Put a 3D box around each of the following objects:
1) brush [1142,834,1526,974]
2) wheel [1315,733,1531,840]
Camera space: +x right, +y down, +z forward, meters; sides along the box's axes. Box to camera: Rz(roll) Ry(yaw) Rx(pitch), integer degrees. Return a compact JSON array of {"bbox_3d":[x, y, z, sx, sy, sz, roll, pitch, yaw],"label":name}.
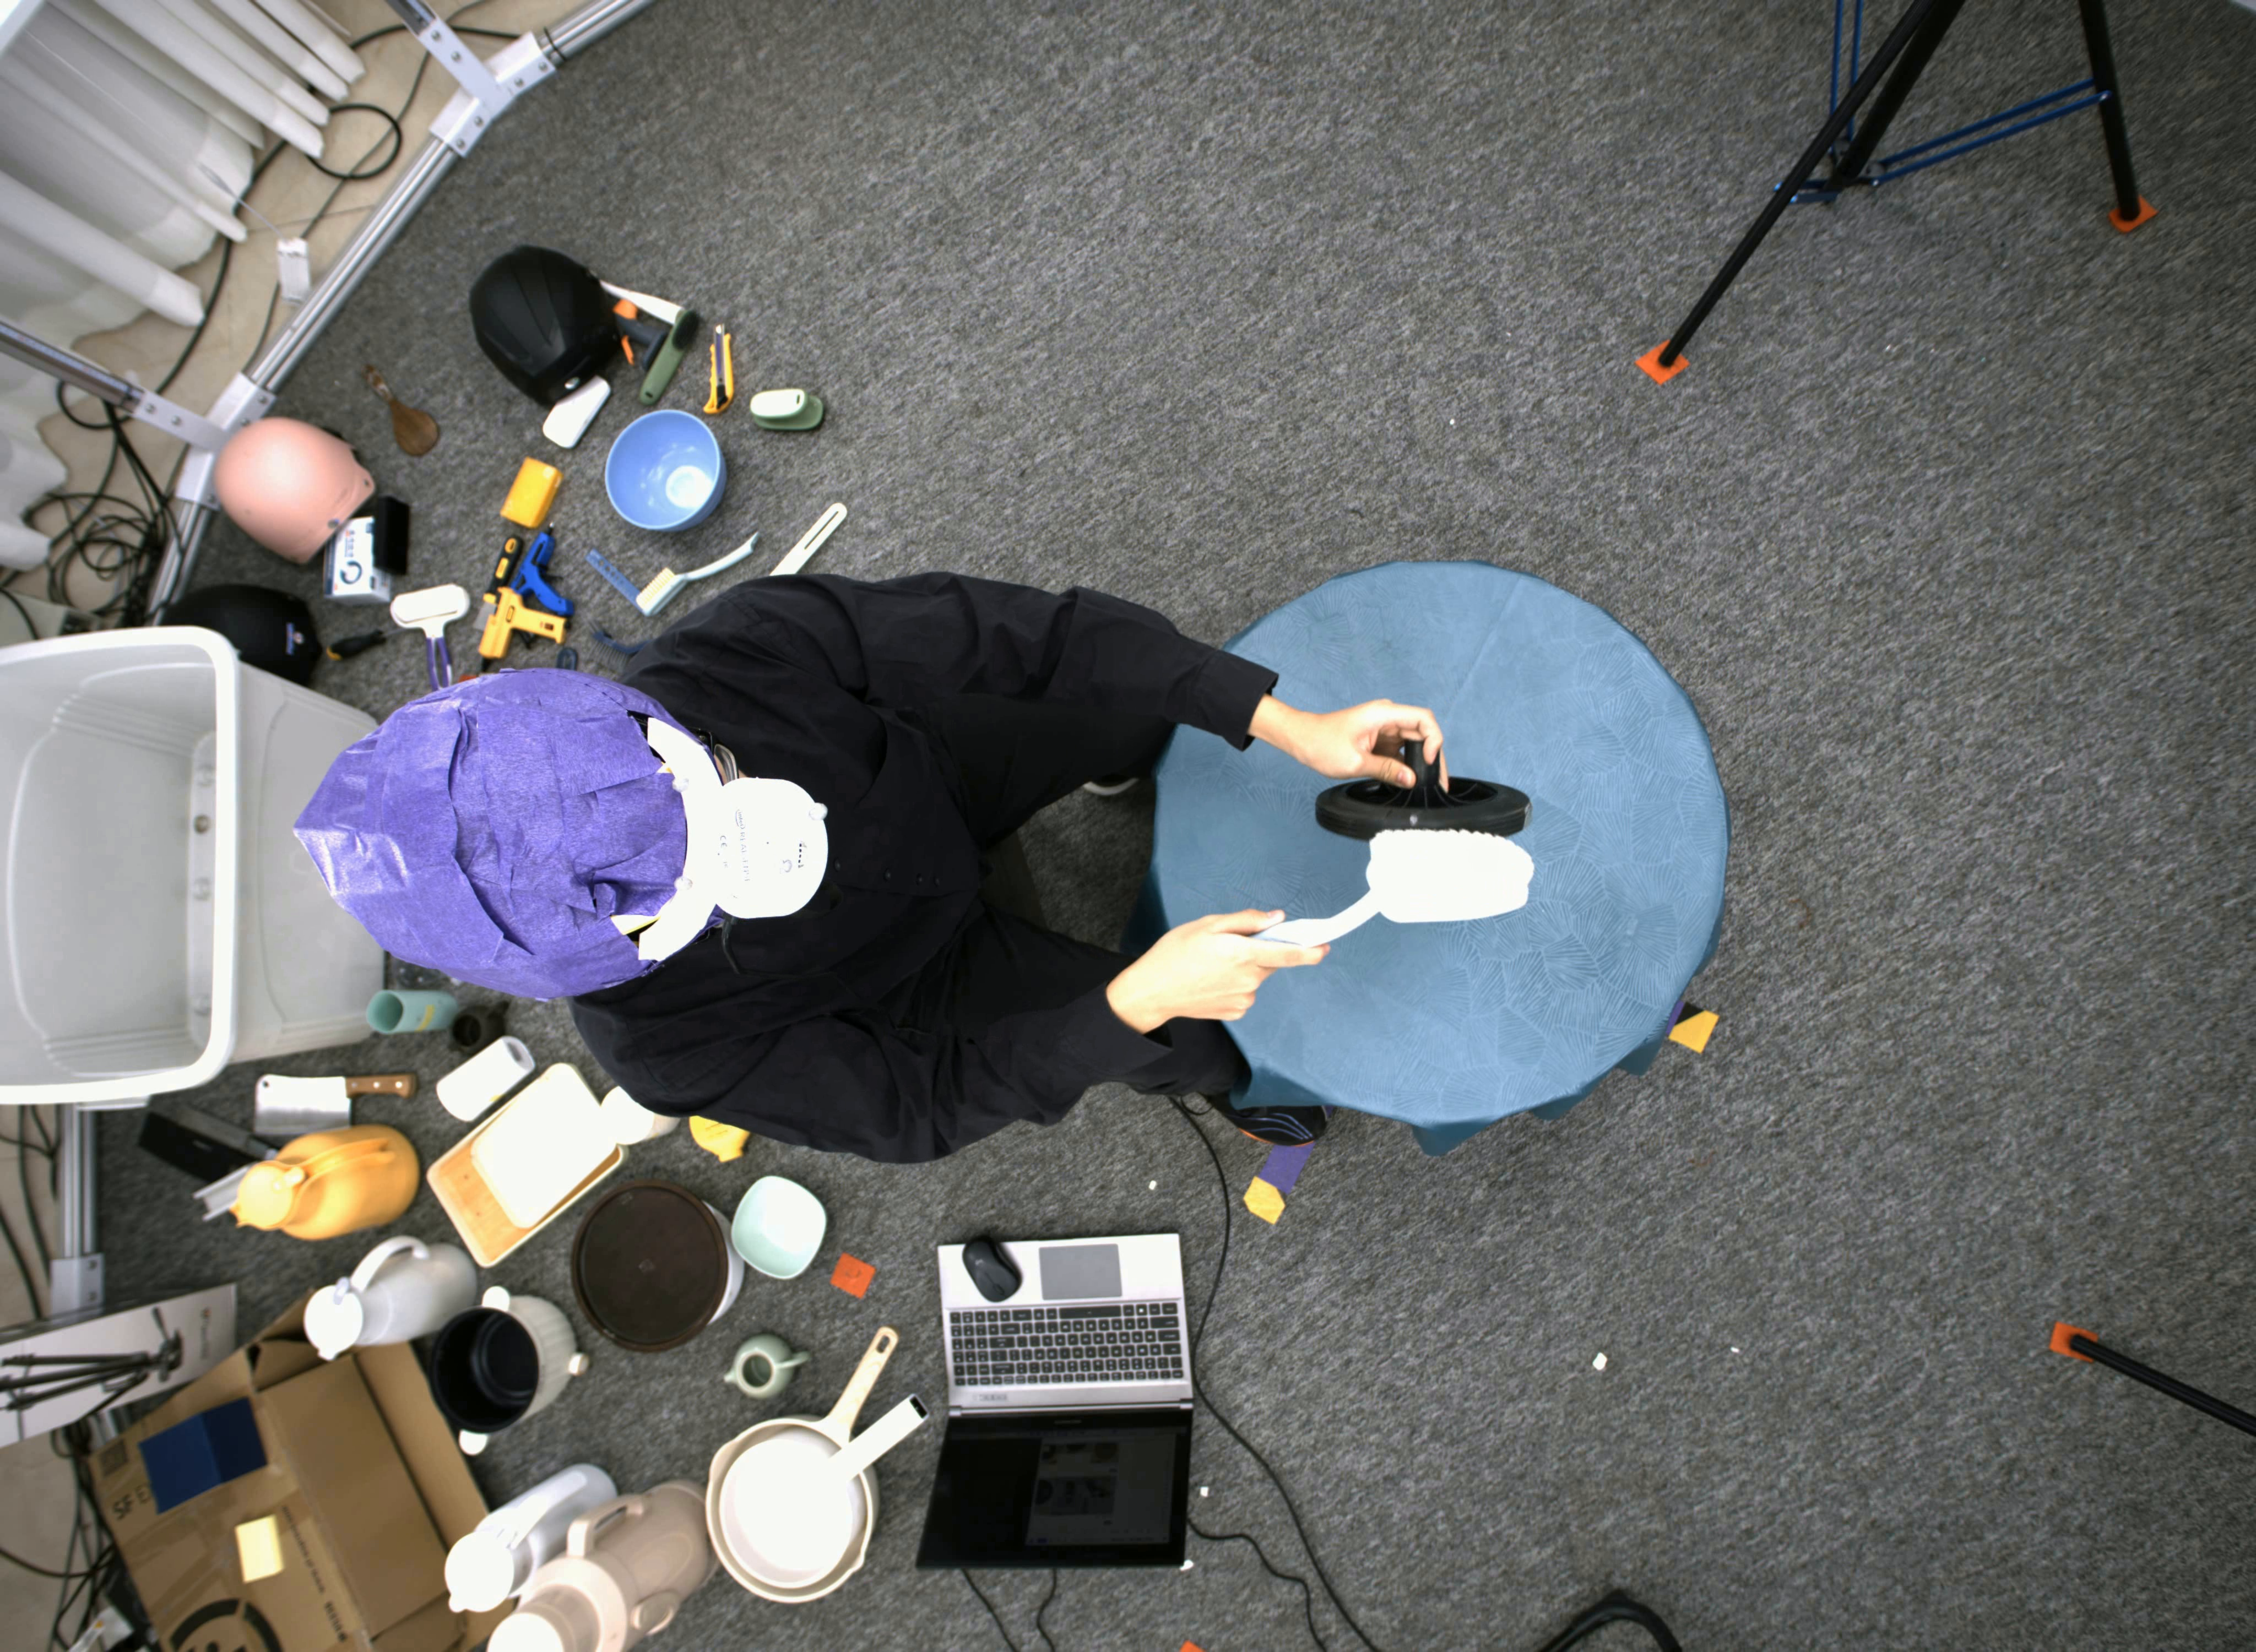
[{"bbox_3d":[0.166,0.057,1.154,0.328,0.083,0.083,-11,93,20],"label":"brush"},{"bbox_3d":[0.262,-0.043,1.226,0.190,0.185,0.080,-4,105,0],"label":"wheel"}]
